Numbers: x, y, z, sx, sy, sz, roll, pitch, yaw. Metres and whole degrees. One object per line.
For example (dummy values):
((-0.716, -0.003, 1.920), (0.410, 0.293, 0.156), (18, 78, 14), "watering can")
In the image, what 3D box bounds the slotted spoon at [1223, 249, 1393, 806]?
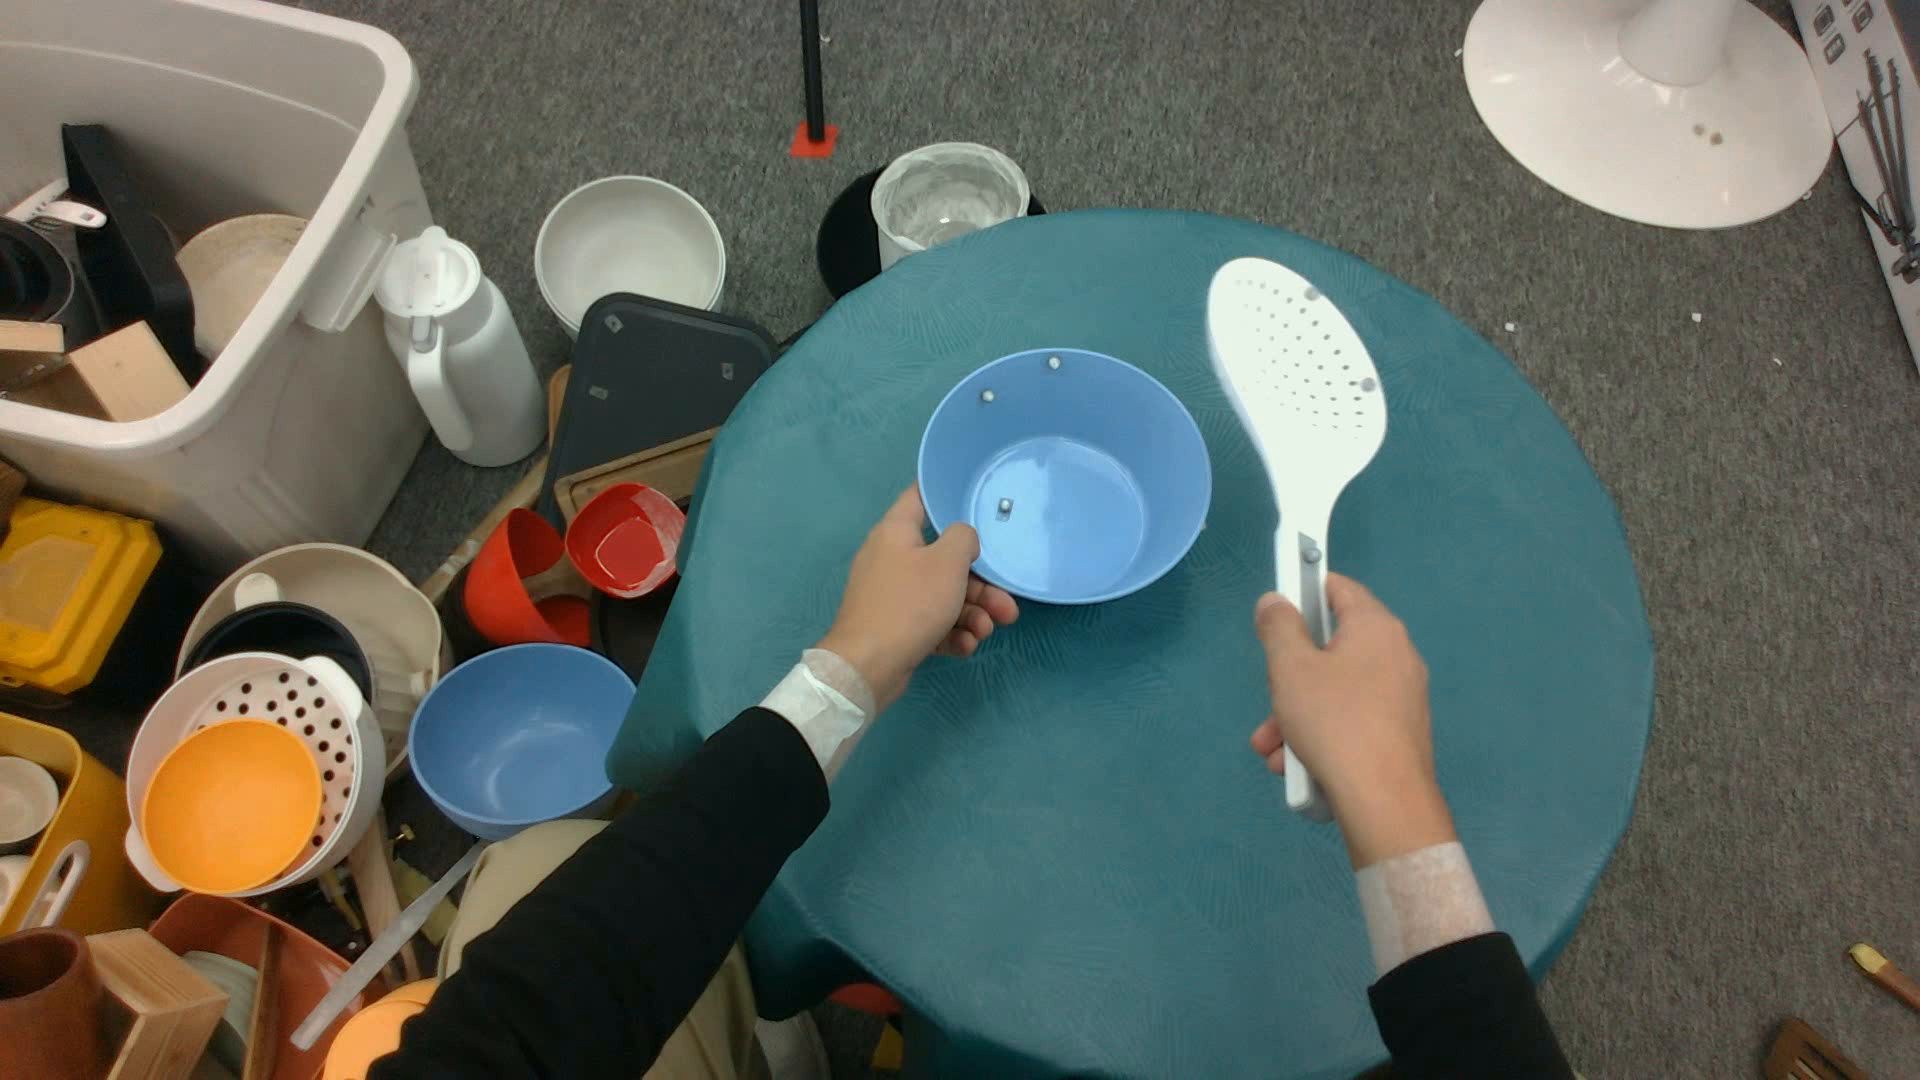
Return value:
((0.187, -0.020, 0.744), (0.136, 0.045, 0.351), (28, 46, -25), "slotted spoon")

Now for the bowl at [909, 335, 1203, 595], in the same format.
((0.056, -0.035, 0.845), (0.176, 0.070, 0.176), (1, 64, -2), "bowl")
